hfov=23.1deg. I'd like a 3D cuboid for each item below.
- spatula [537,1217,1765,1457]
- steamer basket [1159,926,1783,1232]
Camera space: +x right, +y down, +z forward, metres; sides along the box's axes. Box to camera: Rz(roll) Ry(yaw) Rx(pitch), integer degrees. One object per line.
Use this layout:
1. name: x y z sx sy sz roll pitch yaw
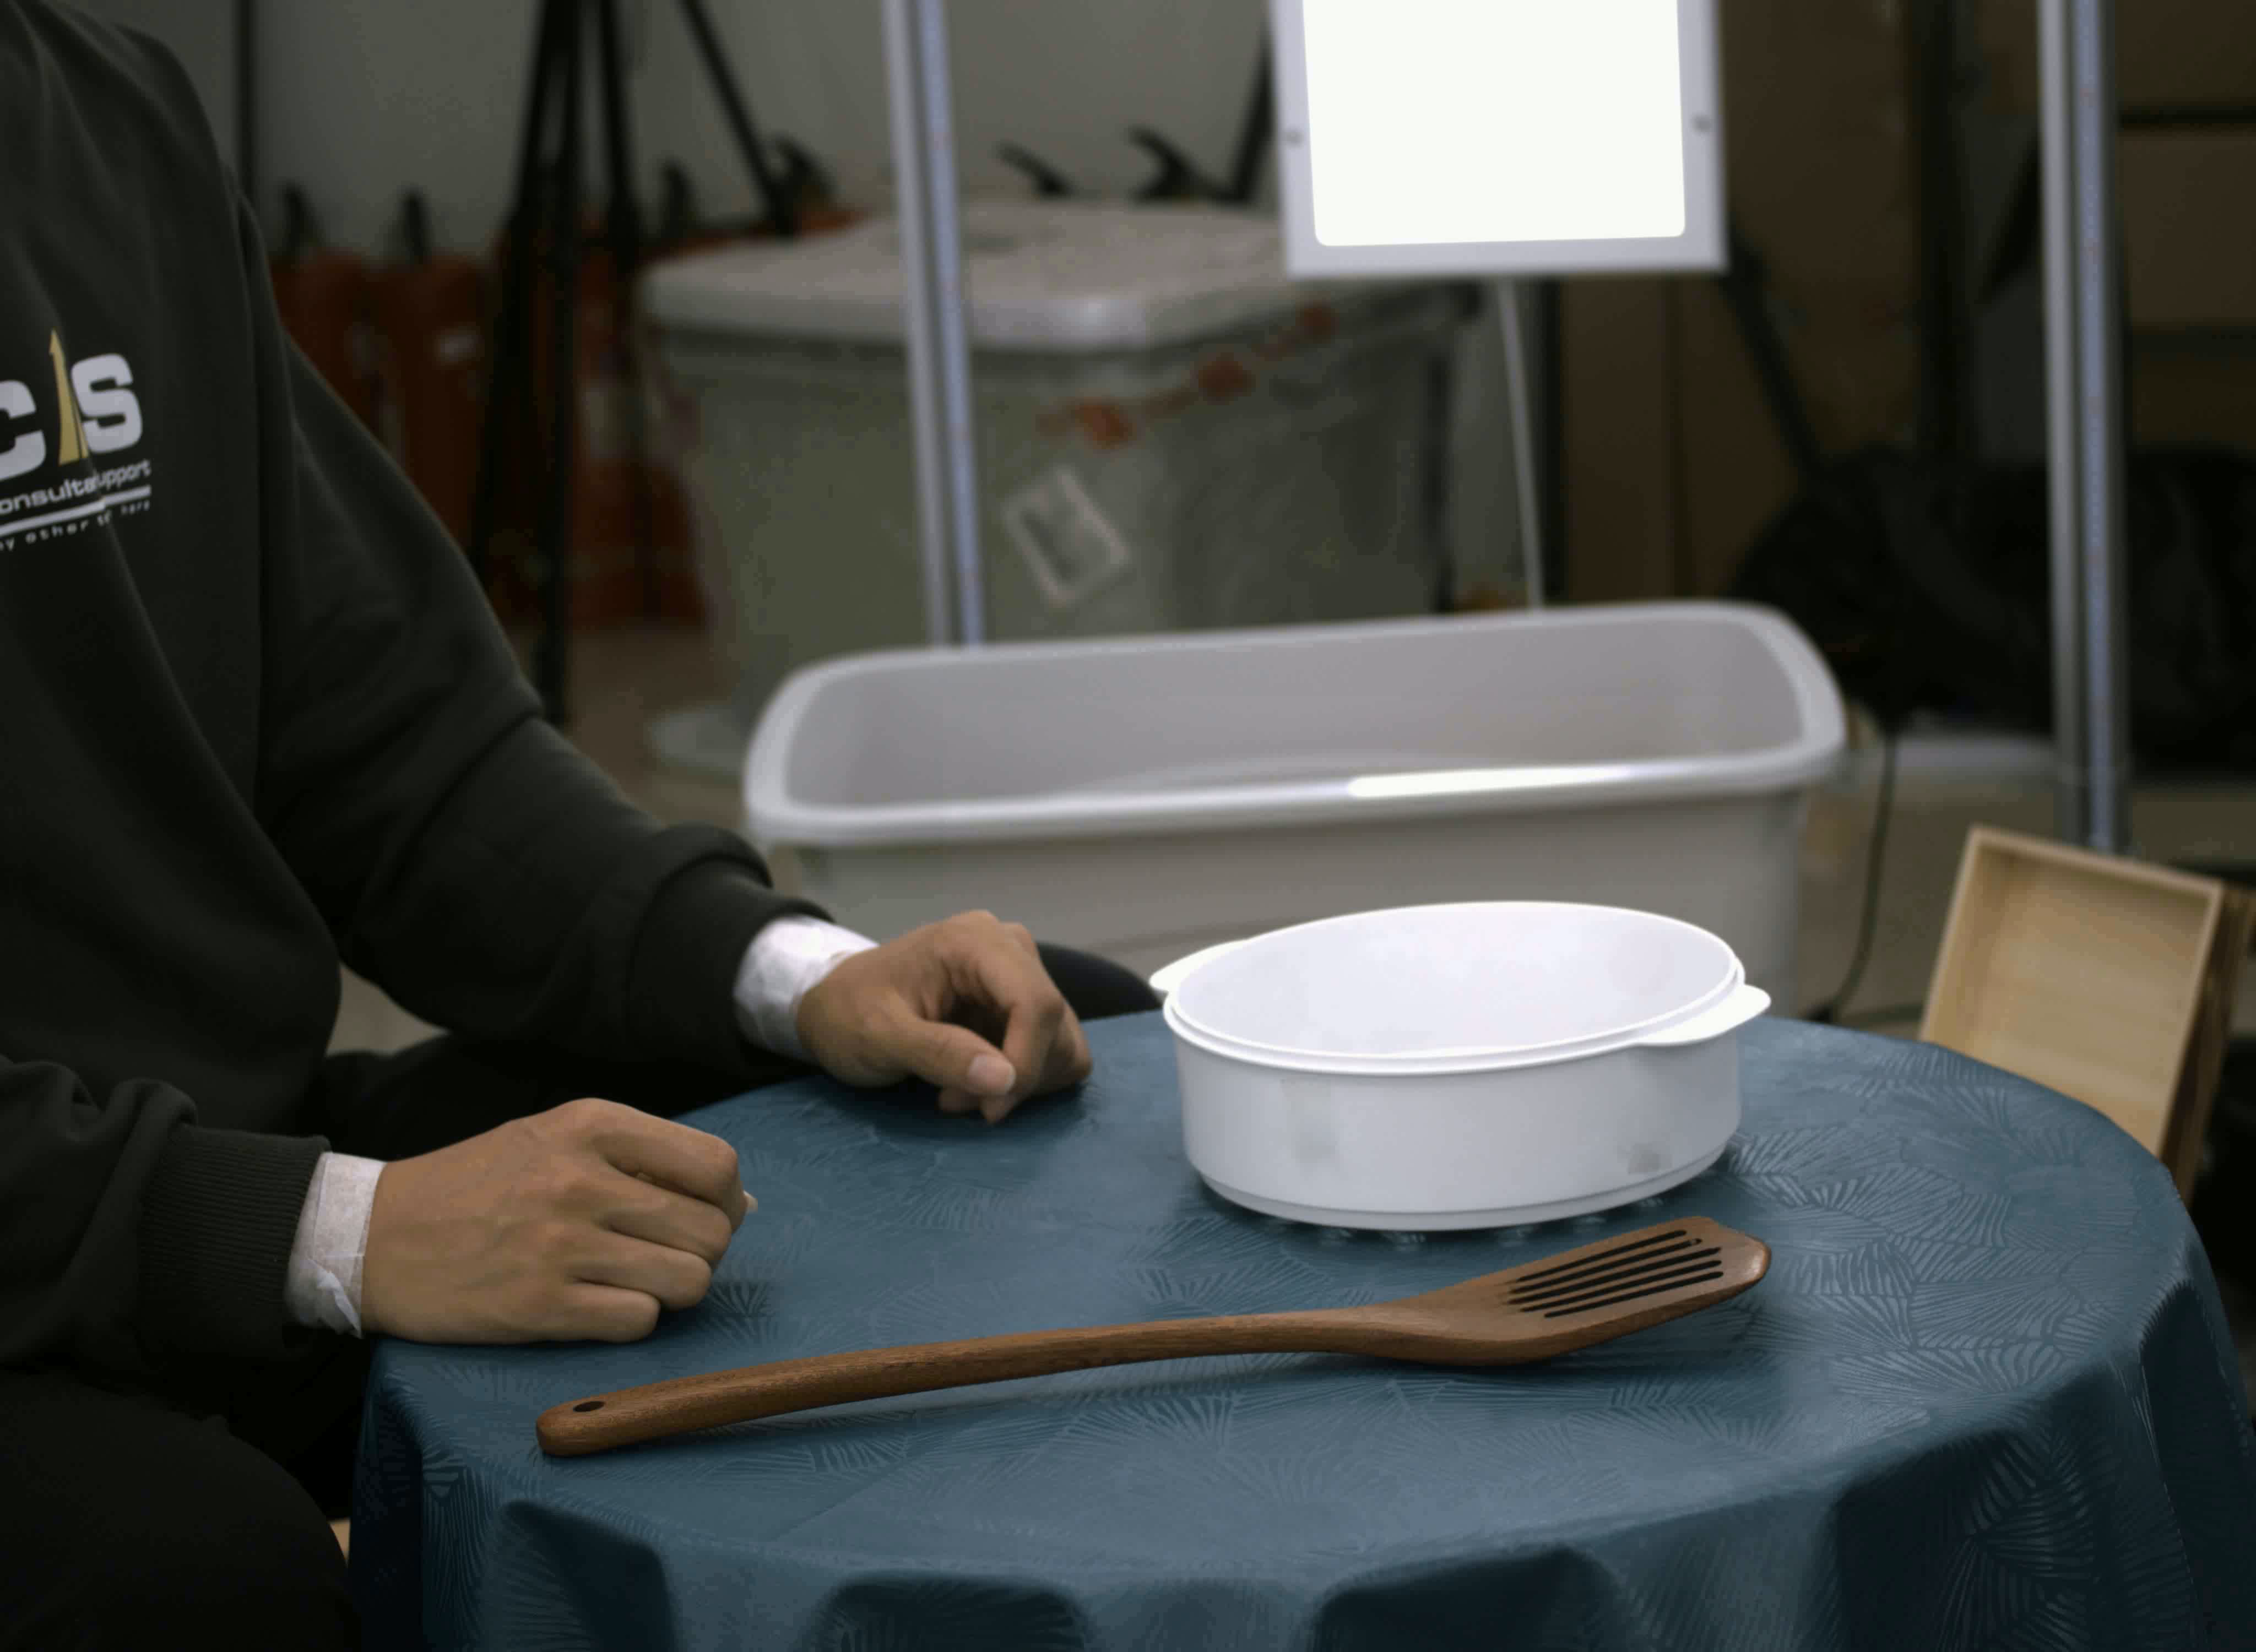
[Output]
1. spatula: 0.008 0.164 1.705 0.383 0.024 0.086 -7 11 -3
2. steamer basket: 0.118 0.087 1.893 0.235 0.069 0.197 1 12 37
